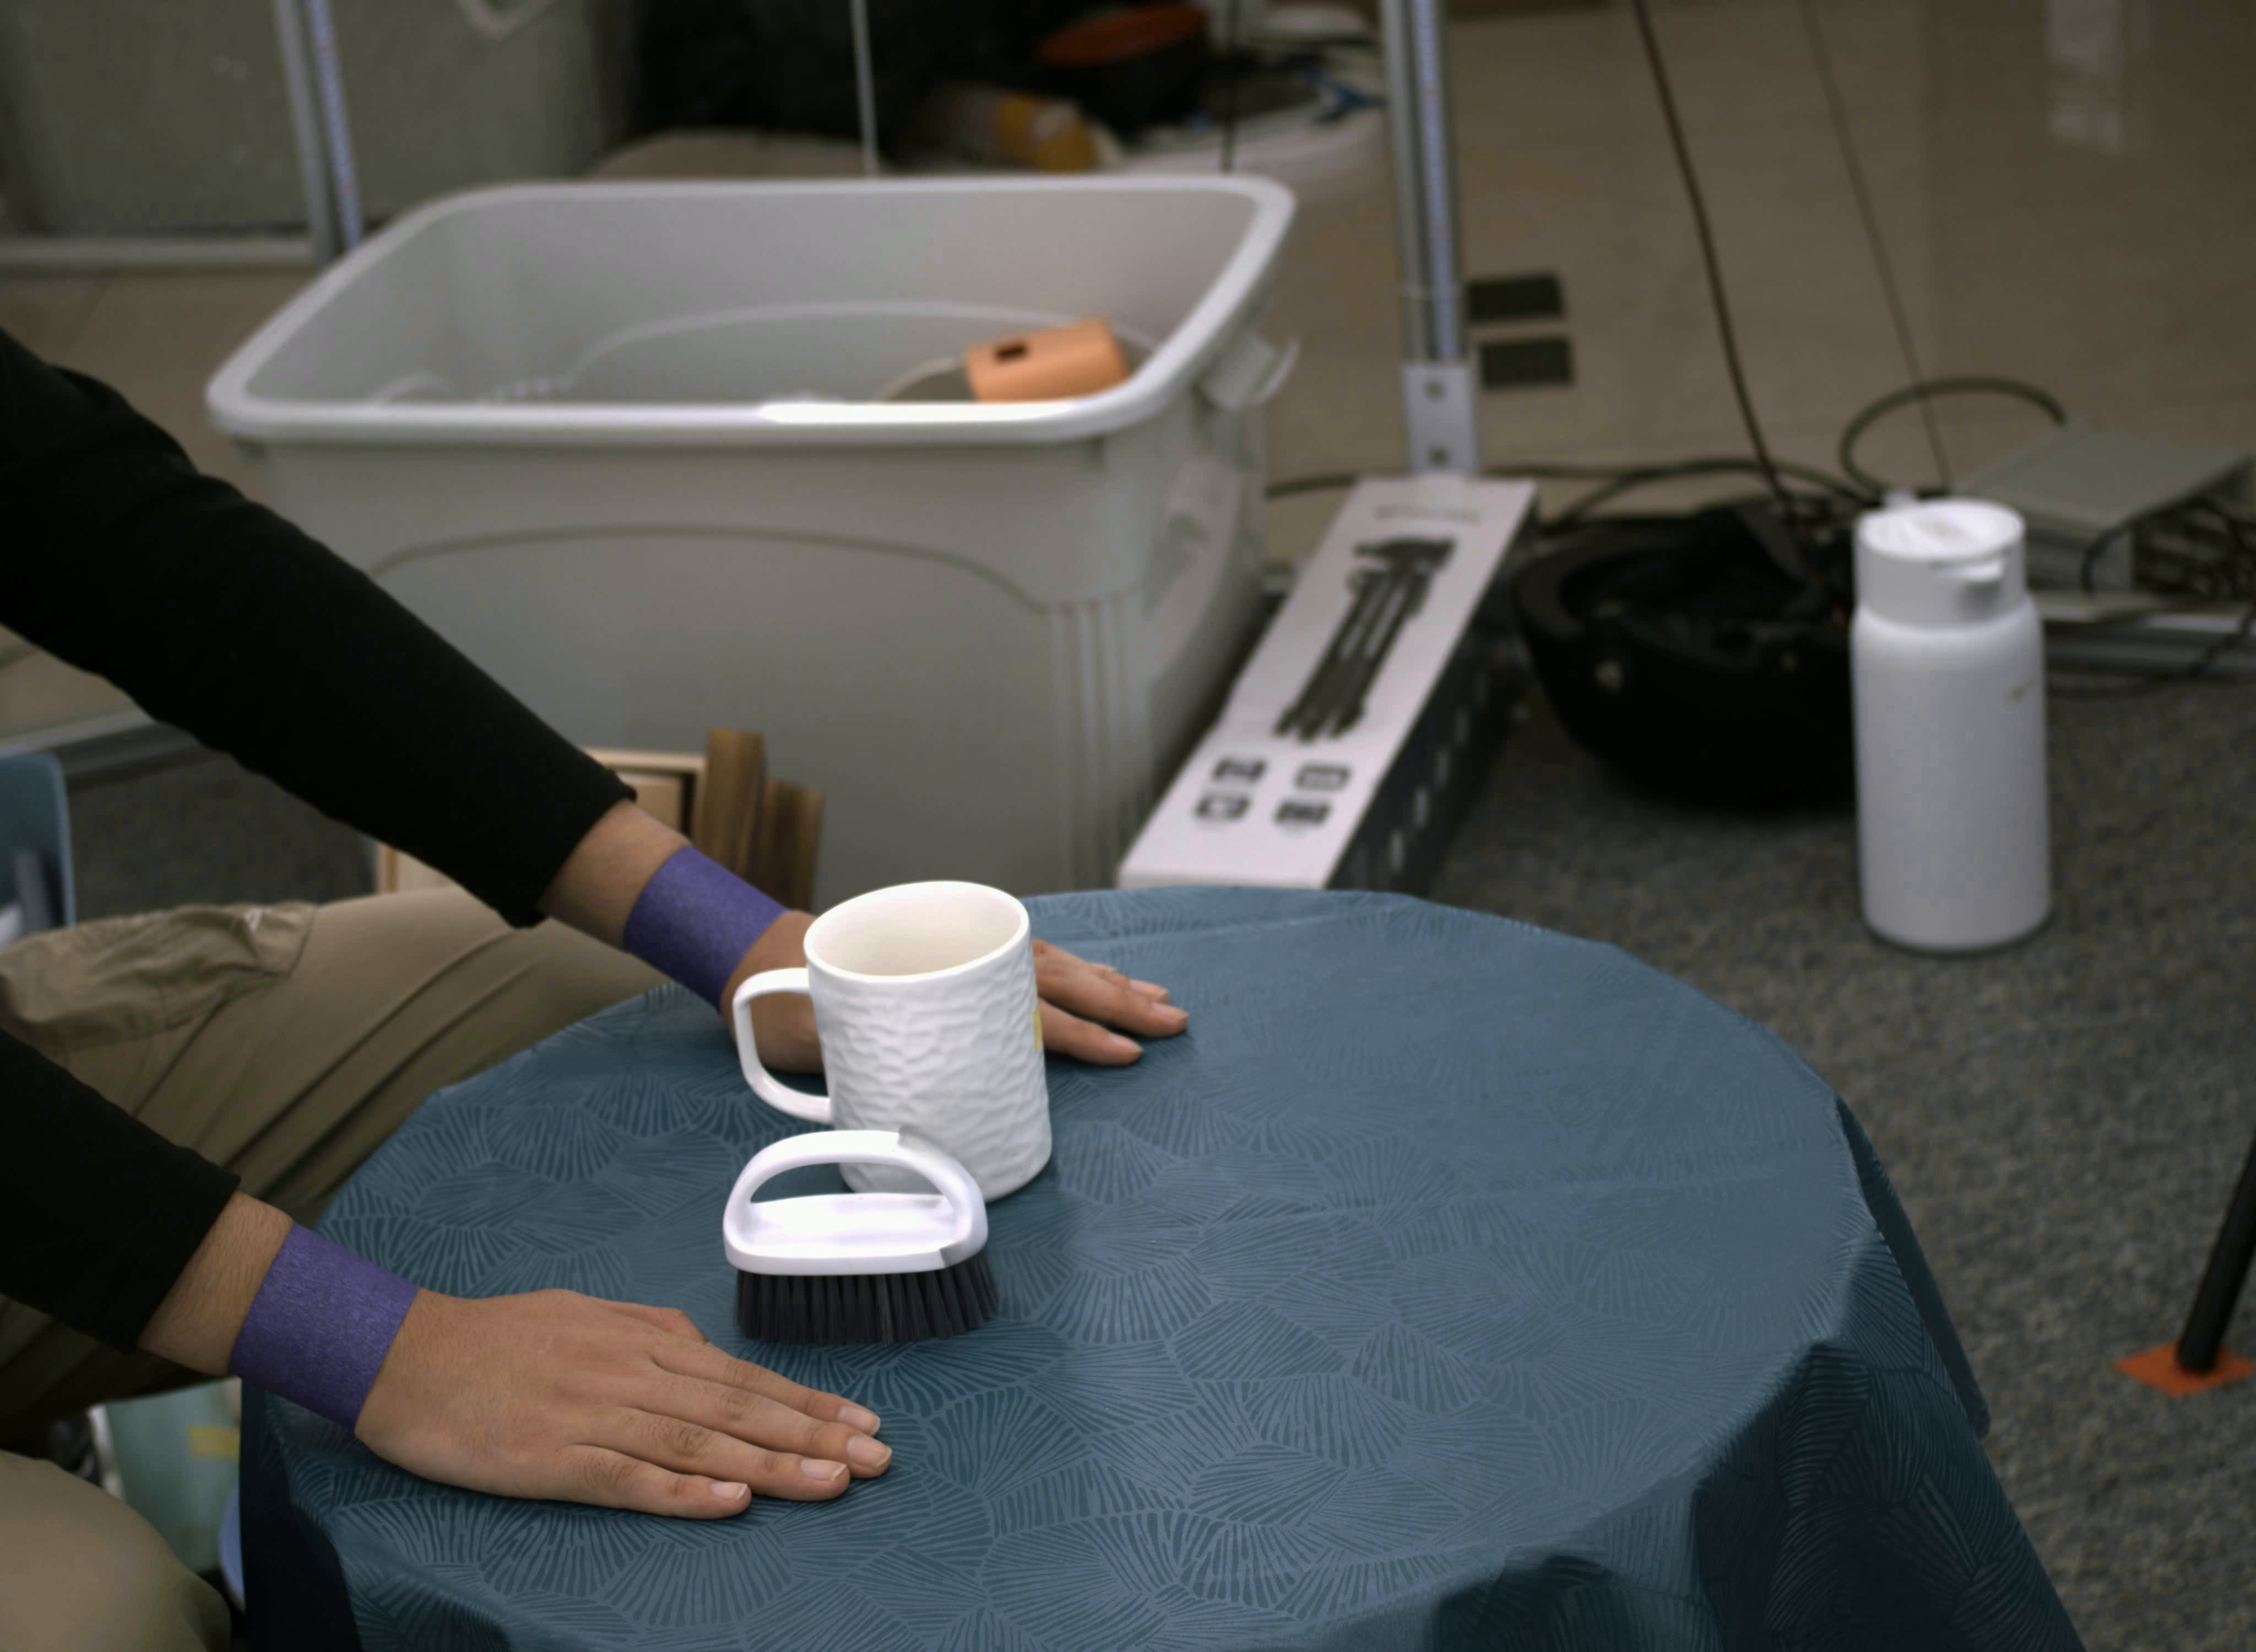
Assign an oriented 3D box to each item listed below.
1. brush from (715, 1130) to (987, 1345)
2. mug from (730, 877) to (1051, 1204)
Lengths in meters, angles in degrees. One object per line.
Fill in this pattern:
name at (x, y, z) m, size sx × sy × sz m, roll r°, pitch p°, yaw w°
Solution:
brush at (-0.102, 0.146, 2.068) m, size 0.099 × 0.073 × 0.049 m, roll -1°, pitch 22°, yaw 2°
mug at (-0.091, 0.084, 2.161) m, size 0.118 × 0.103 × 0.083 m, roll -3°, pitch 26°, yaw 8°
